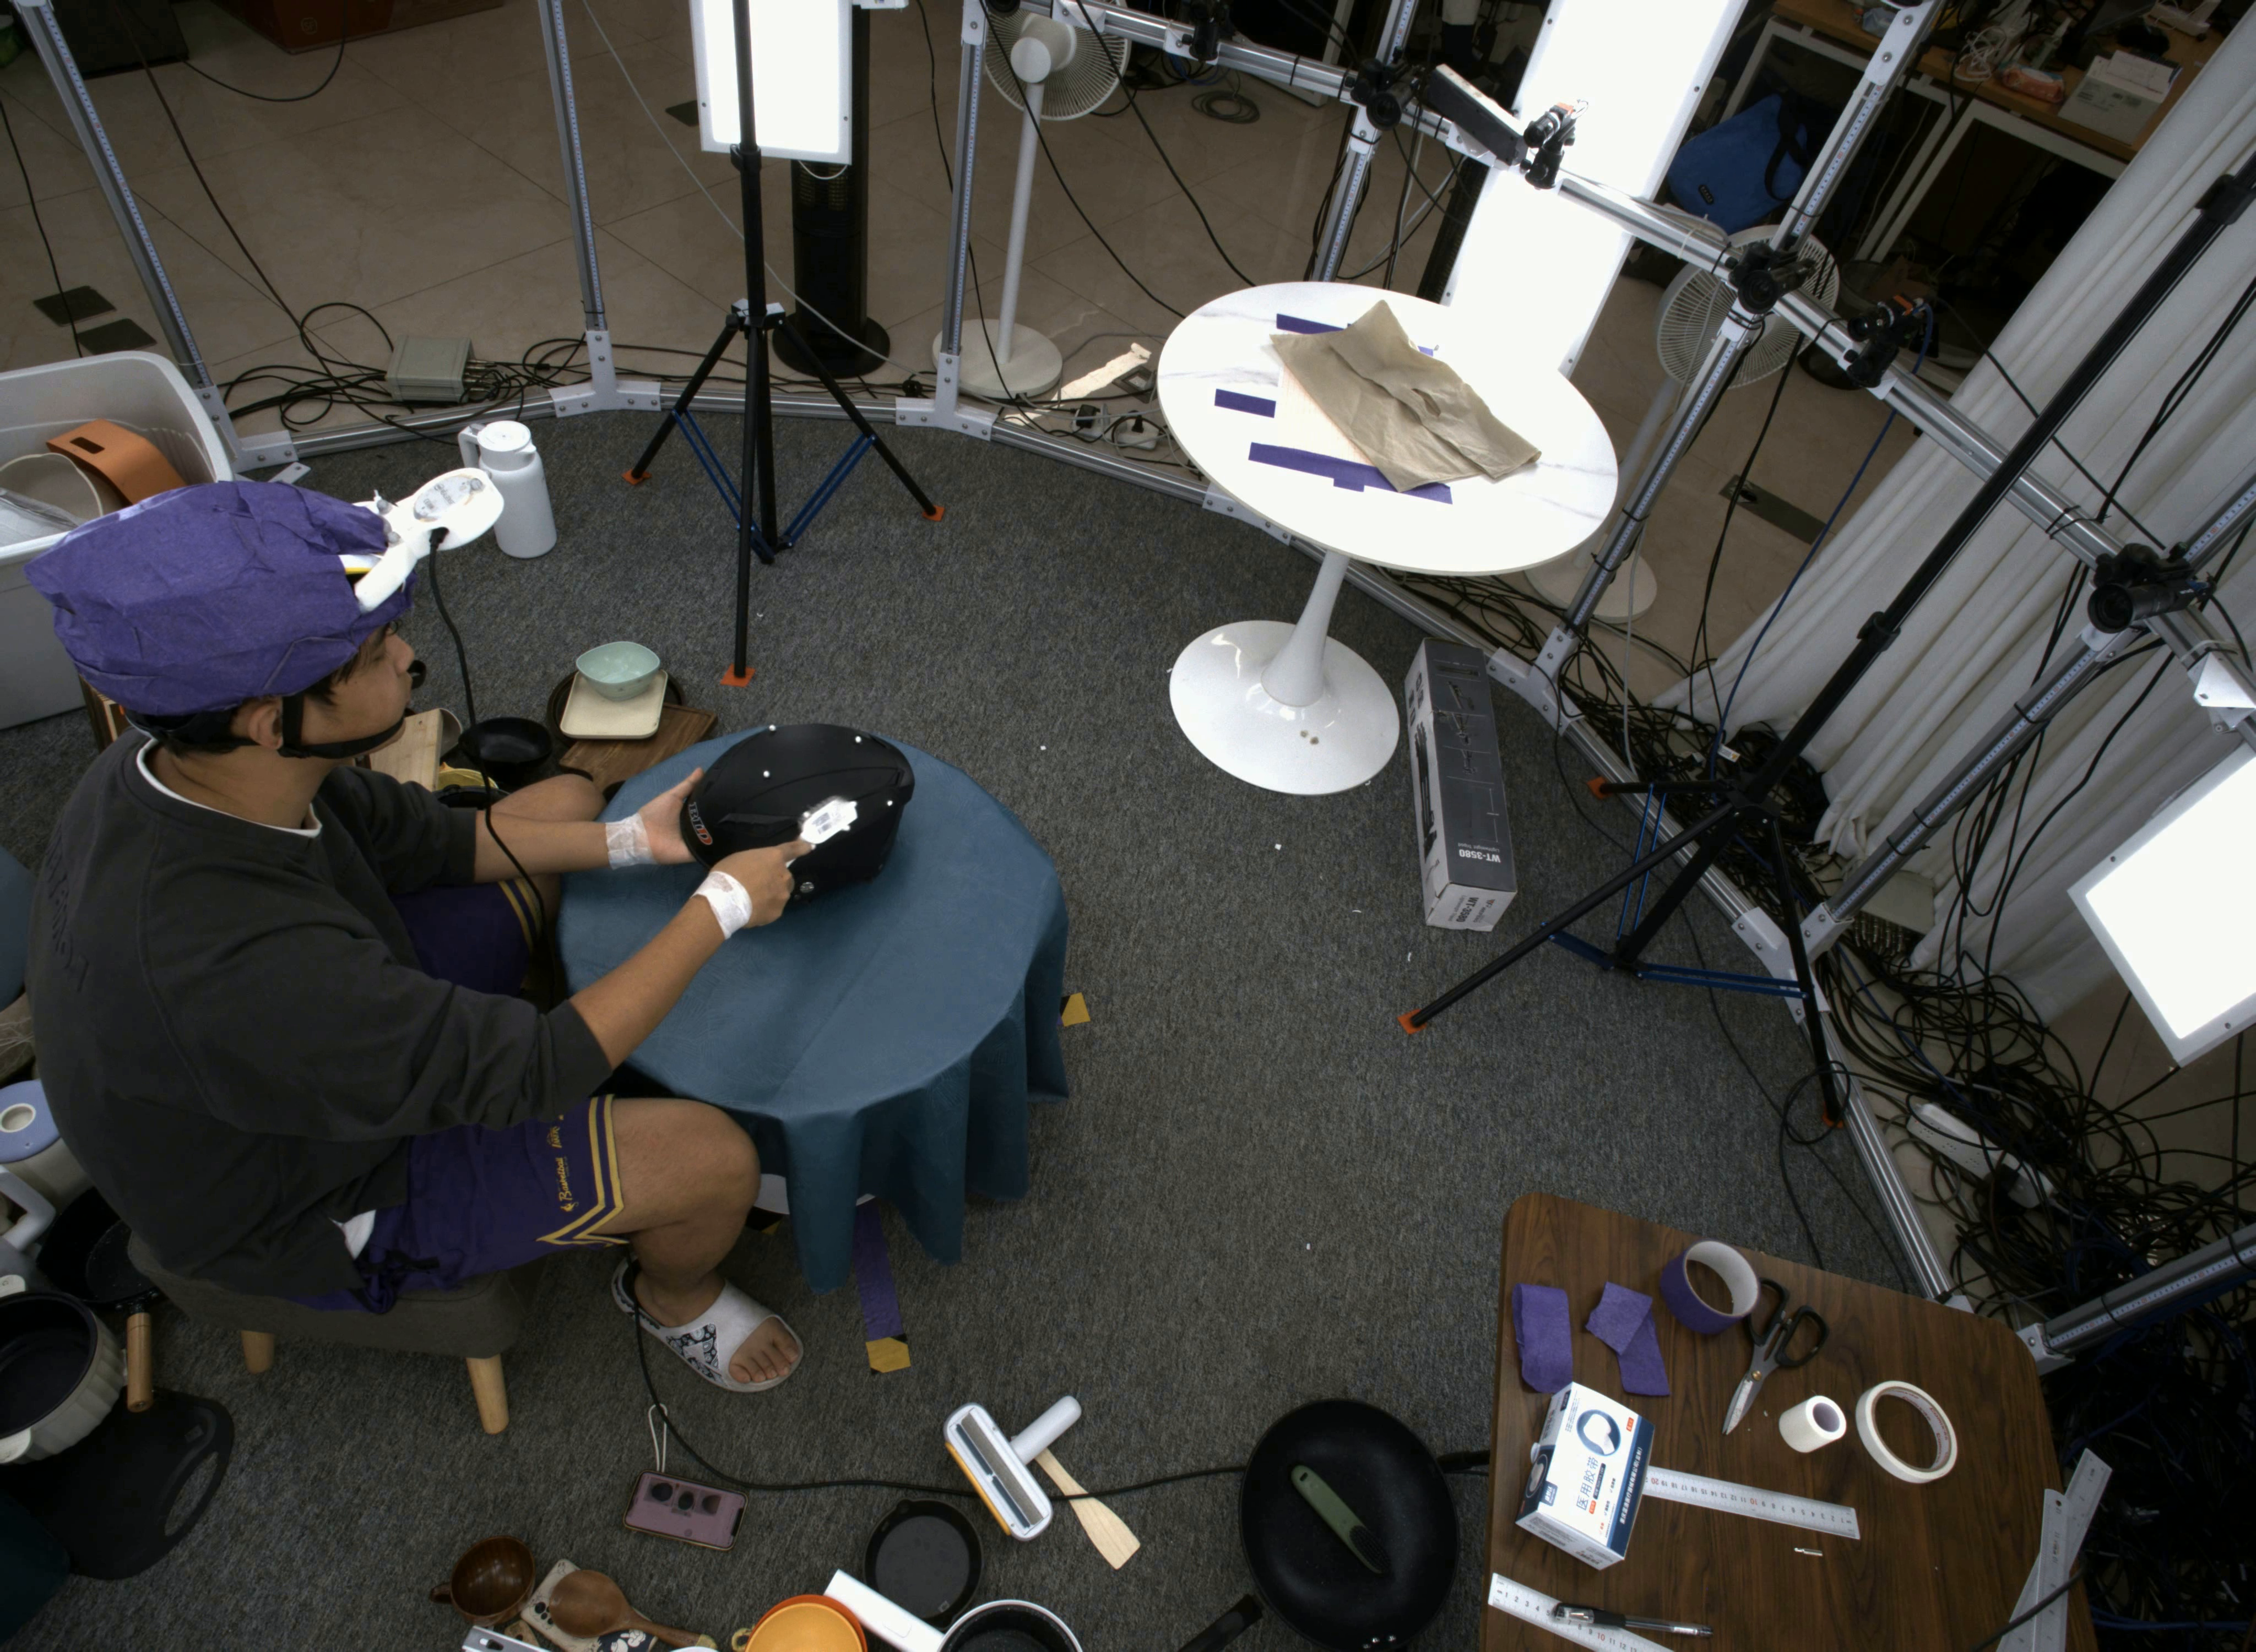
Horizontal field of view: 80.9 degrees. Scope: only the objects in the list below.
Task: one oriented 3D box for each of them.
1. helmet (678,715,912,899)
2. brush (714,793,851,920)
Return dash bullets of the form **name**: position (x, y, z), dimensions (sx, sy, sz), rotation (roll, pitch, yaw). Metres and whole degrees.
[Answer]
- **helmet**: position (-0.415, -0.040, 1.638), dimensions (0.281, 0.174, 0.240), rotation (-6, 52, -39)
- **brush**: position (-0.399, 0.033, 1.475), dimensions (0.035, 0.049, 0.242), rotation (62, 39, -20)
